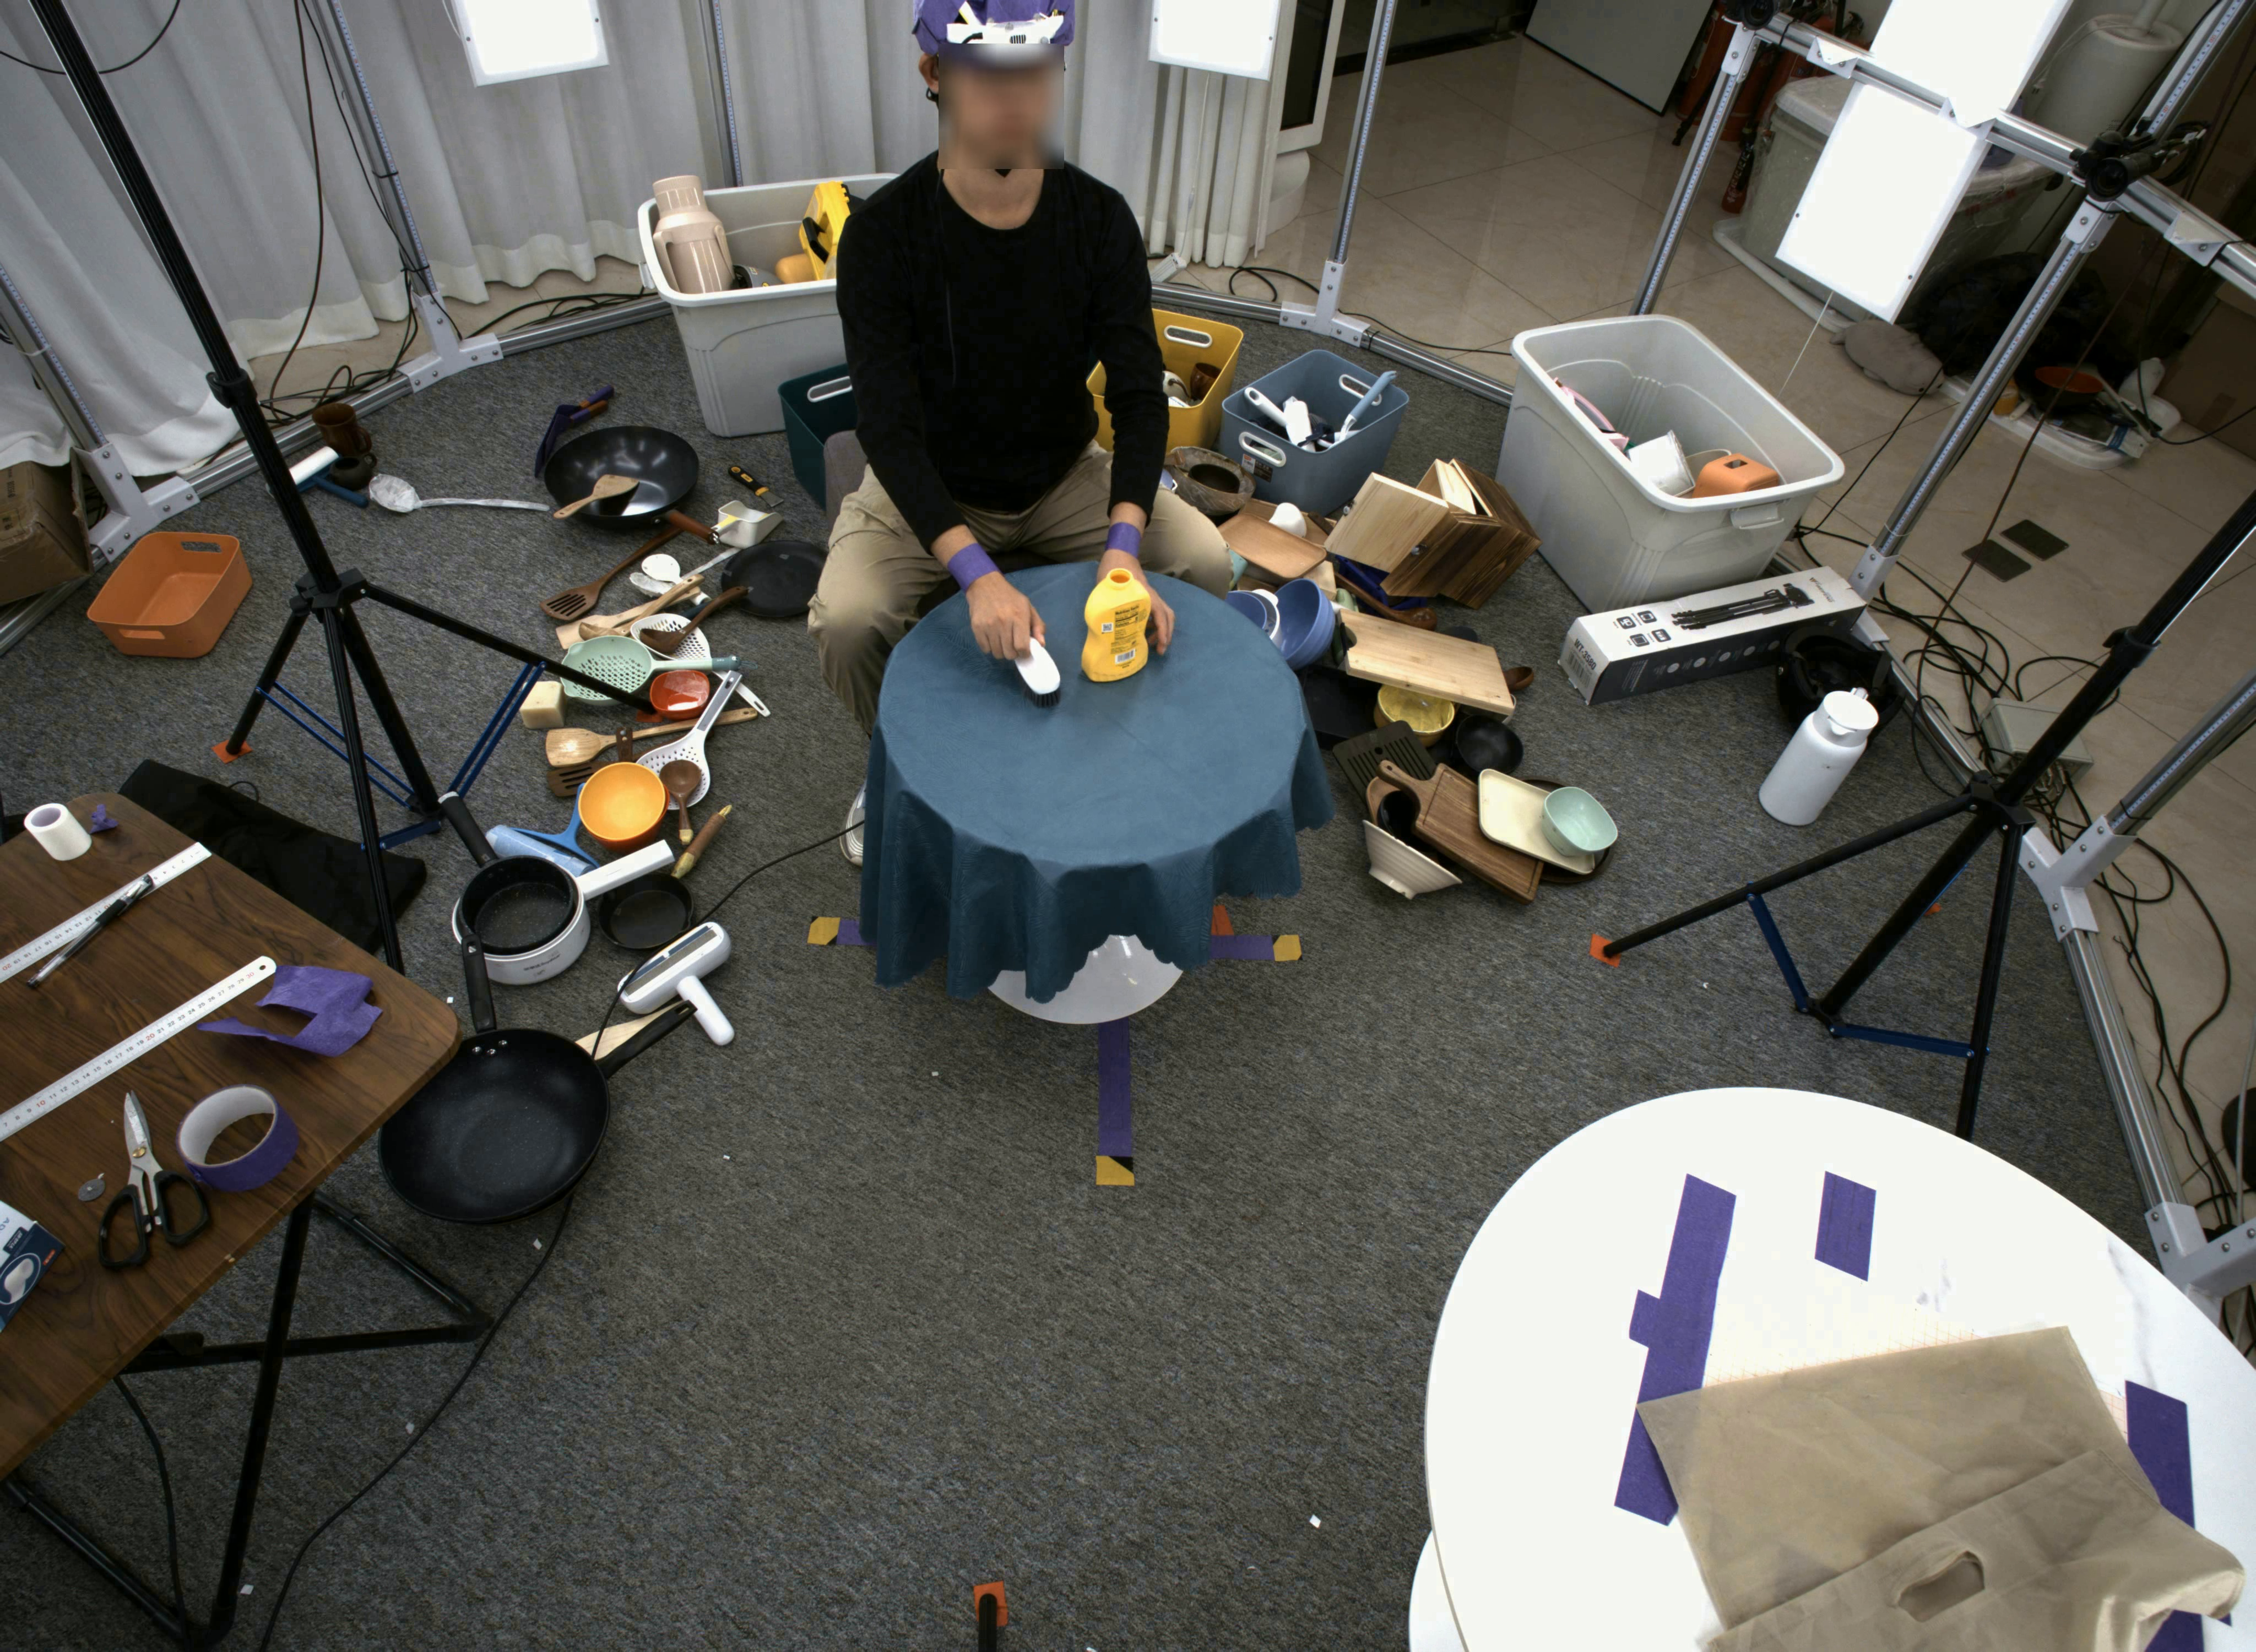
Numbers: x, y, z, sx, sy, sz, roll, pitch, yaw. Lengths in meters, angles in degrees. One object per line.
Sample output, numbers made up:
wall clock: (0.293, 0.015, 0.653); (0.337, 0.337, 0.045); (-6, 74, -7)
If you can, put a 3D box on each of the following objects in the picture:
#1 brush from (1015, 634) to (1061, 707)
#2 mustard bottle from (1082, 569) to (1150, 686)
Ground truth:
brush: (-0.128, -0.226, 1.803); (0.050, 0.071, 0.101); (-16, 54, -14)
mustard bottle: (-0.017, -0.280, 1.801); (0.098, 0.168, 0.060); (-24, 50, -22)
